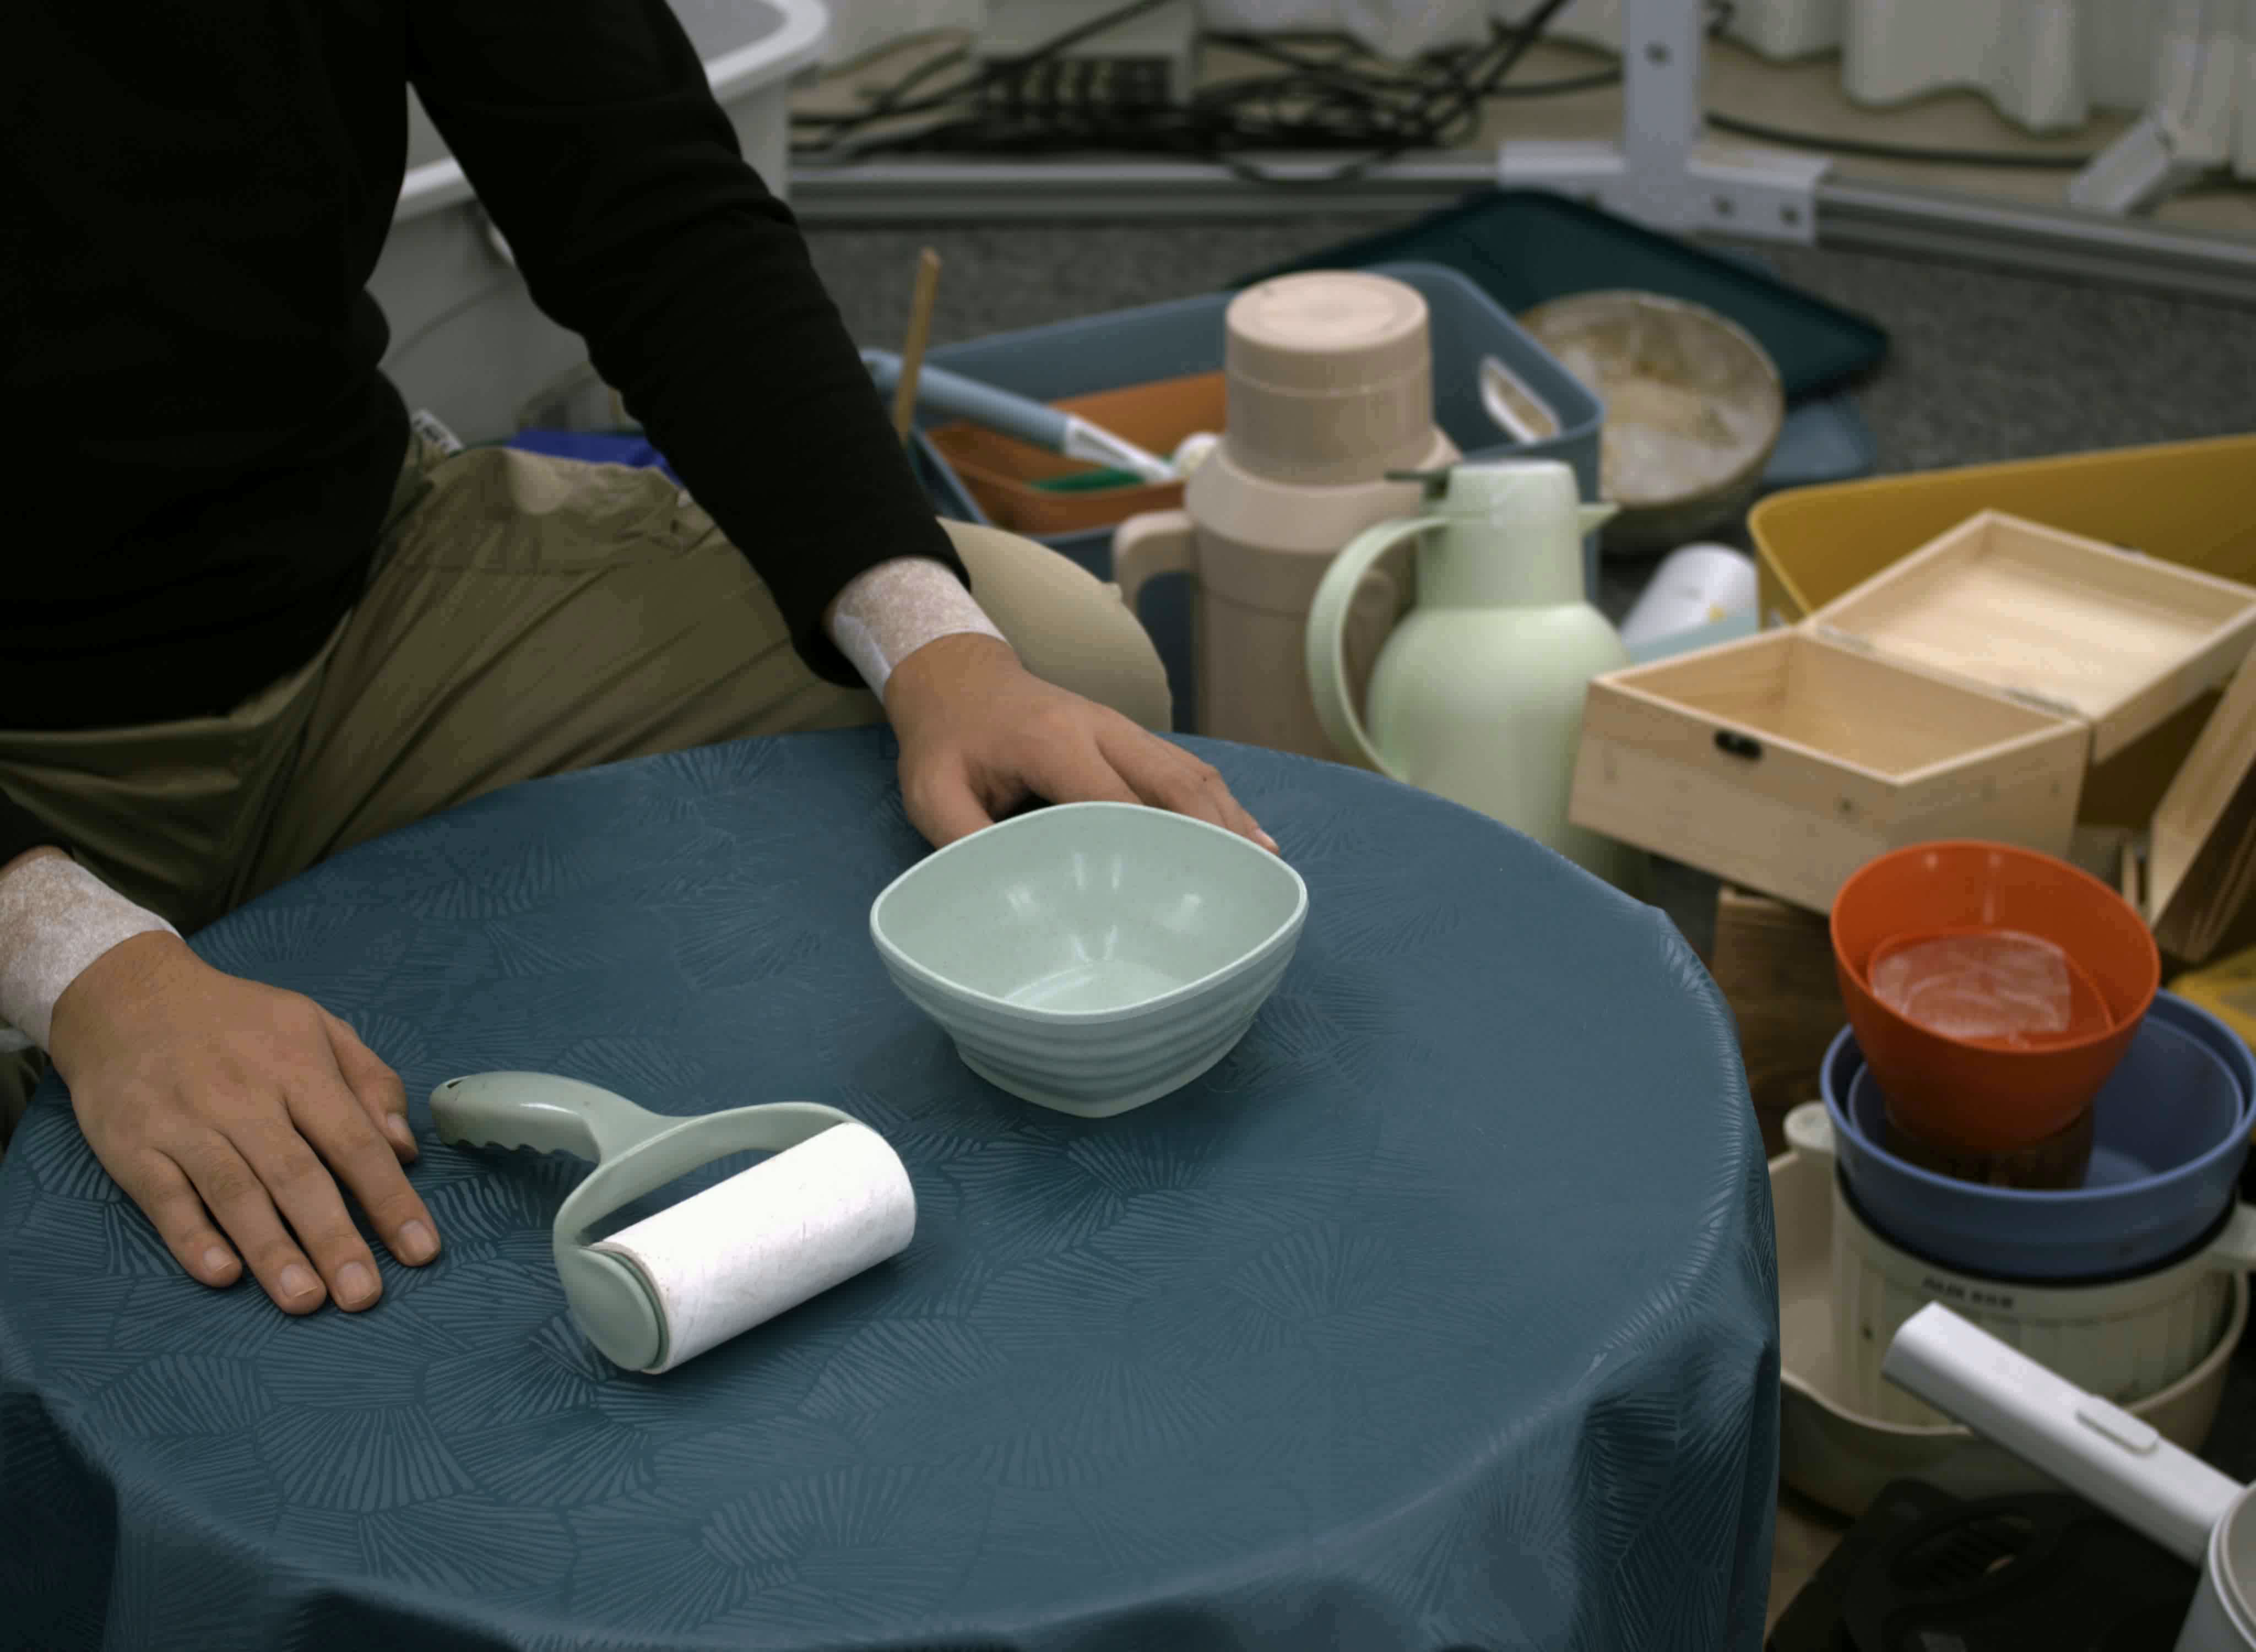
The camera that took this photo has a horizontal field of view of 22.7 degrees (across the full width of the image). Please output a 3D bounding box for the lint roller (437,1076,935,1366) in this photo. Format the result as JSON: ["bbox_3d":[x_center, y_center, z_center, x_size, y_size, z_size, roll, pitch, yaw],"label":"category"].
[{"bbox_3d":[-0.163,0.111,1.851,0.118,0.048,0.197,-26,34,-35],"label":"lint roller"}]

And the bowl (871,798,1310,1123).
[{"bbox_3d":[-0.012,0.052,1.937,0.151,0.058,0.154,-2,29,1],"label":"bowl"}]
